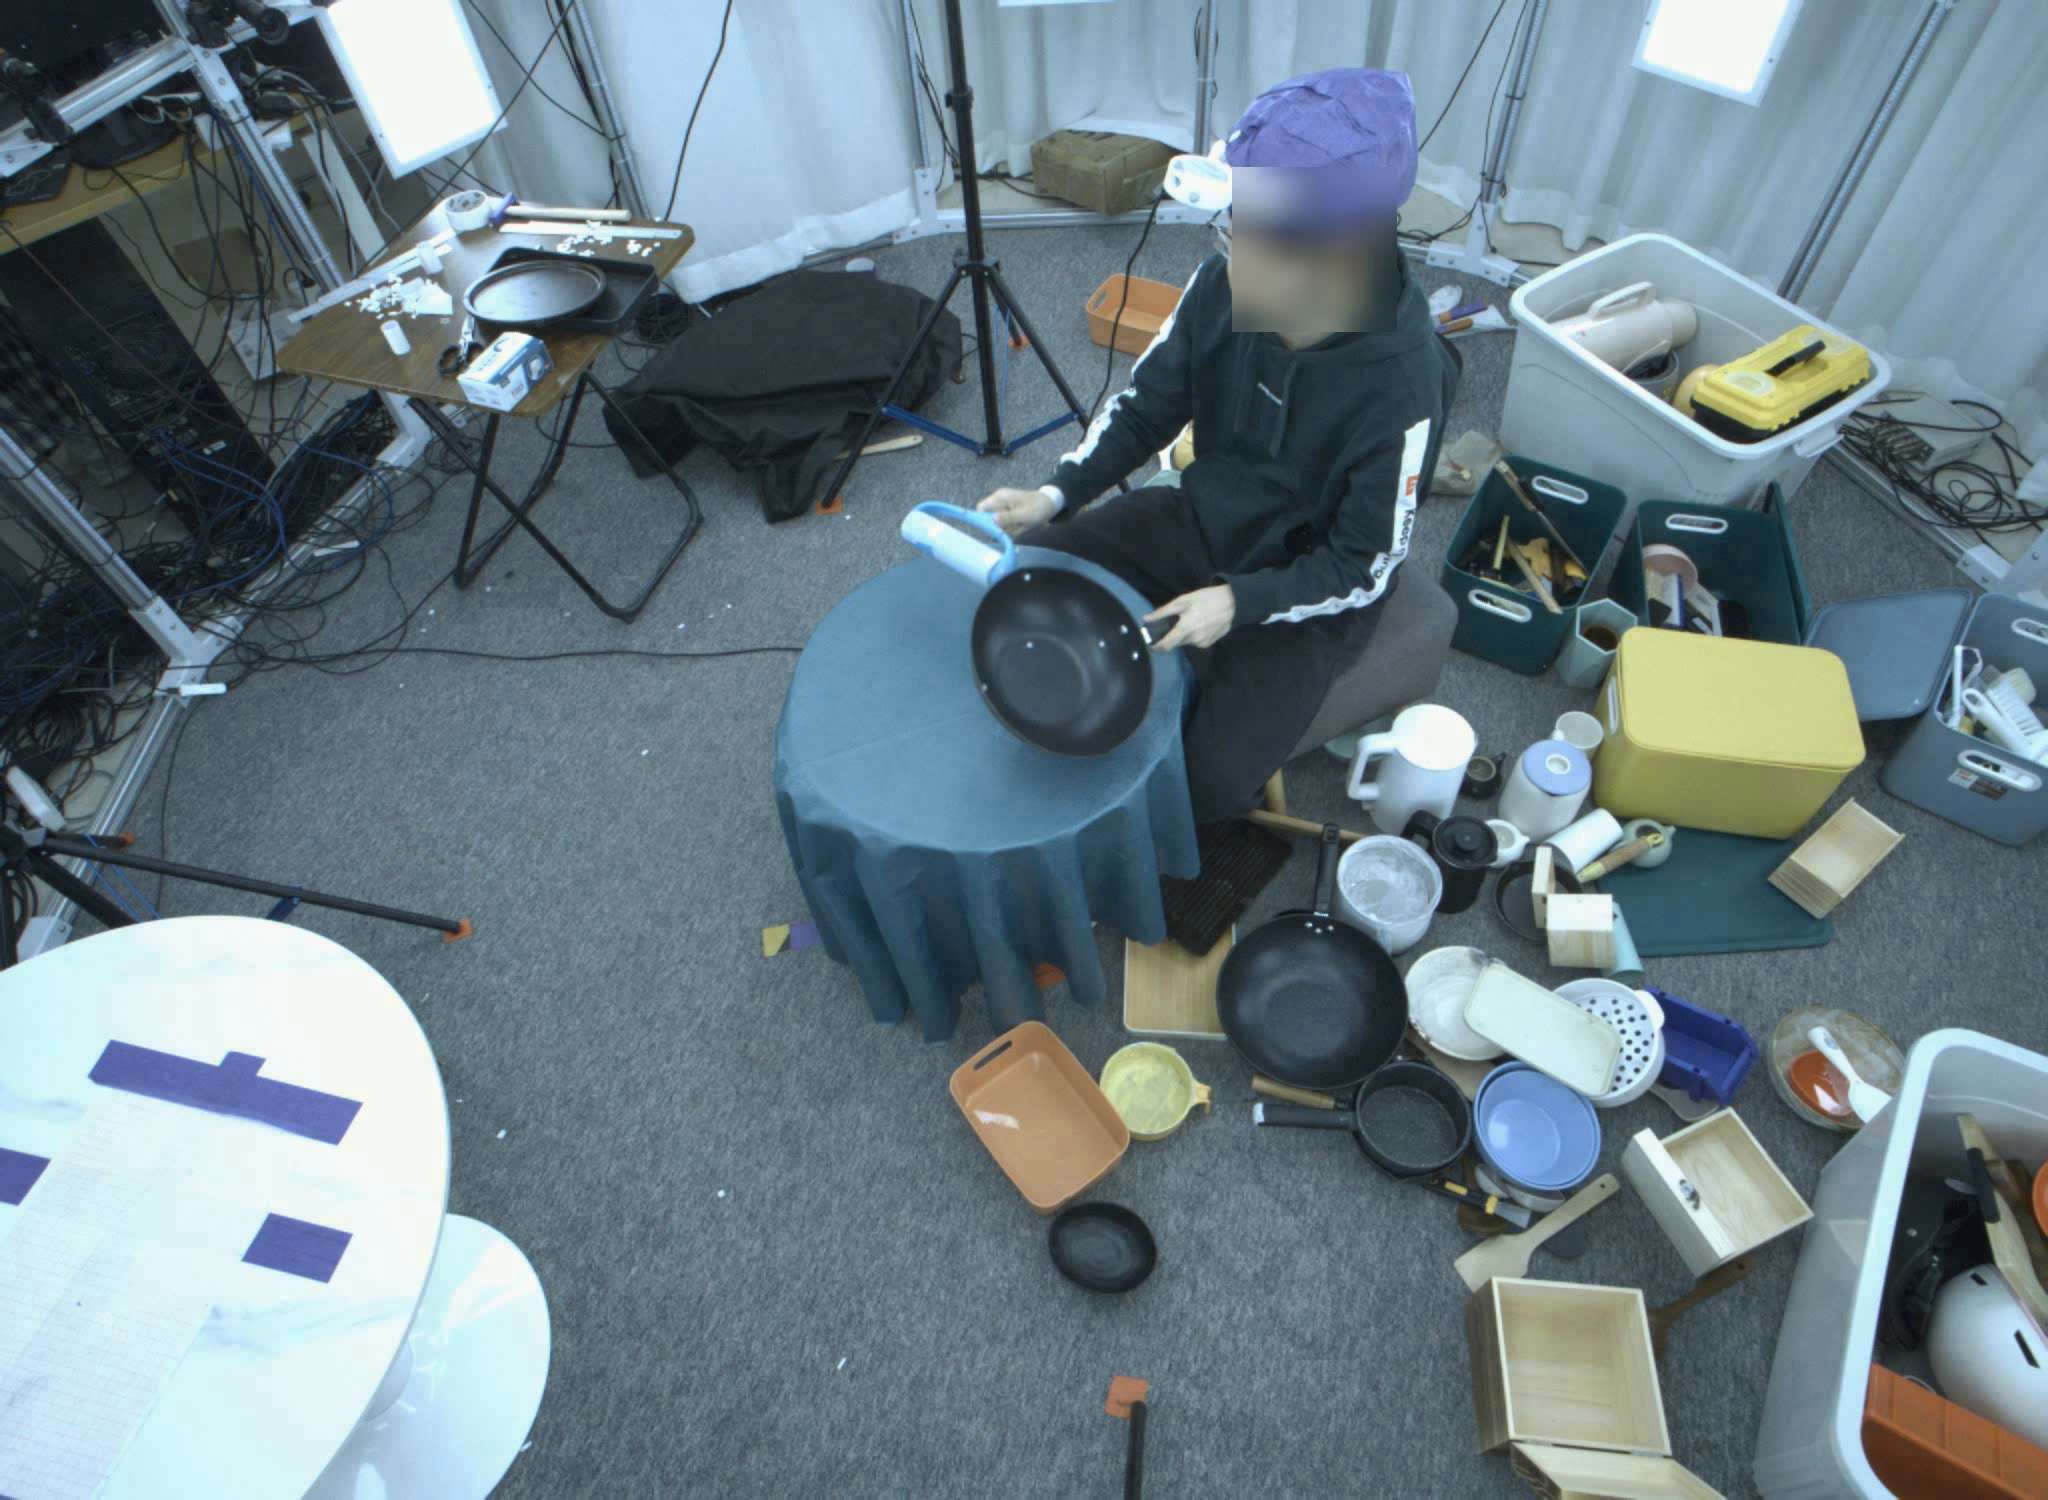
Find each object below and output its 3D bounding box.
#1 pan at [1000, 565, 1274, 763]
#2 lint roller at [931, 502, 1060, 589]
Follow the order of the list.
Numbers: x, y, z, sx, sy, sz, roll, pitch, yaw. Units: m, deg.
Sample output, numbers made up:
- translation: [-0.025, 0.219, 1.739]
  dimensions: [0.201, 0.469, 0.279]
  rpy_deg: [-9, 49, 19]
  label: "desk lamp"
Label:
- translation: [0.158, -0.132, 1.747]
  dimensions: [0.470, 0.086, 0.287]
  rpy_deg: [-17, 84, -30]
  label: "pan"
- translation: [-0.014, -0.327, 1.843]
  dimensions: [0.224, 0.068, 0.182]
  rpy_deg: [29, 48, 30]
  label: "lint roller"
